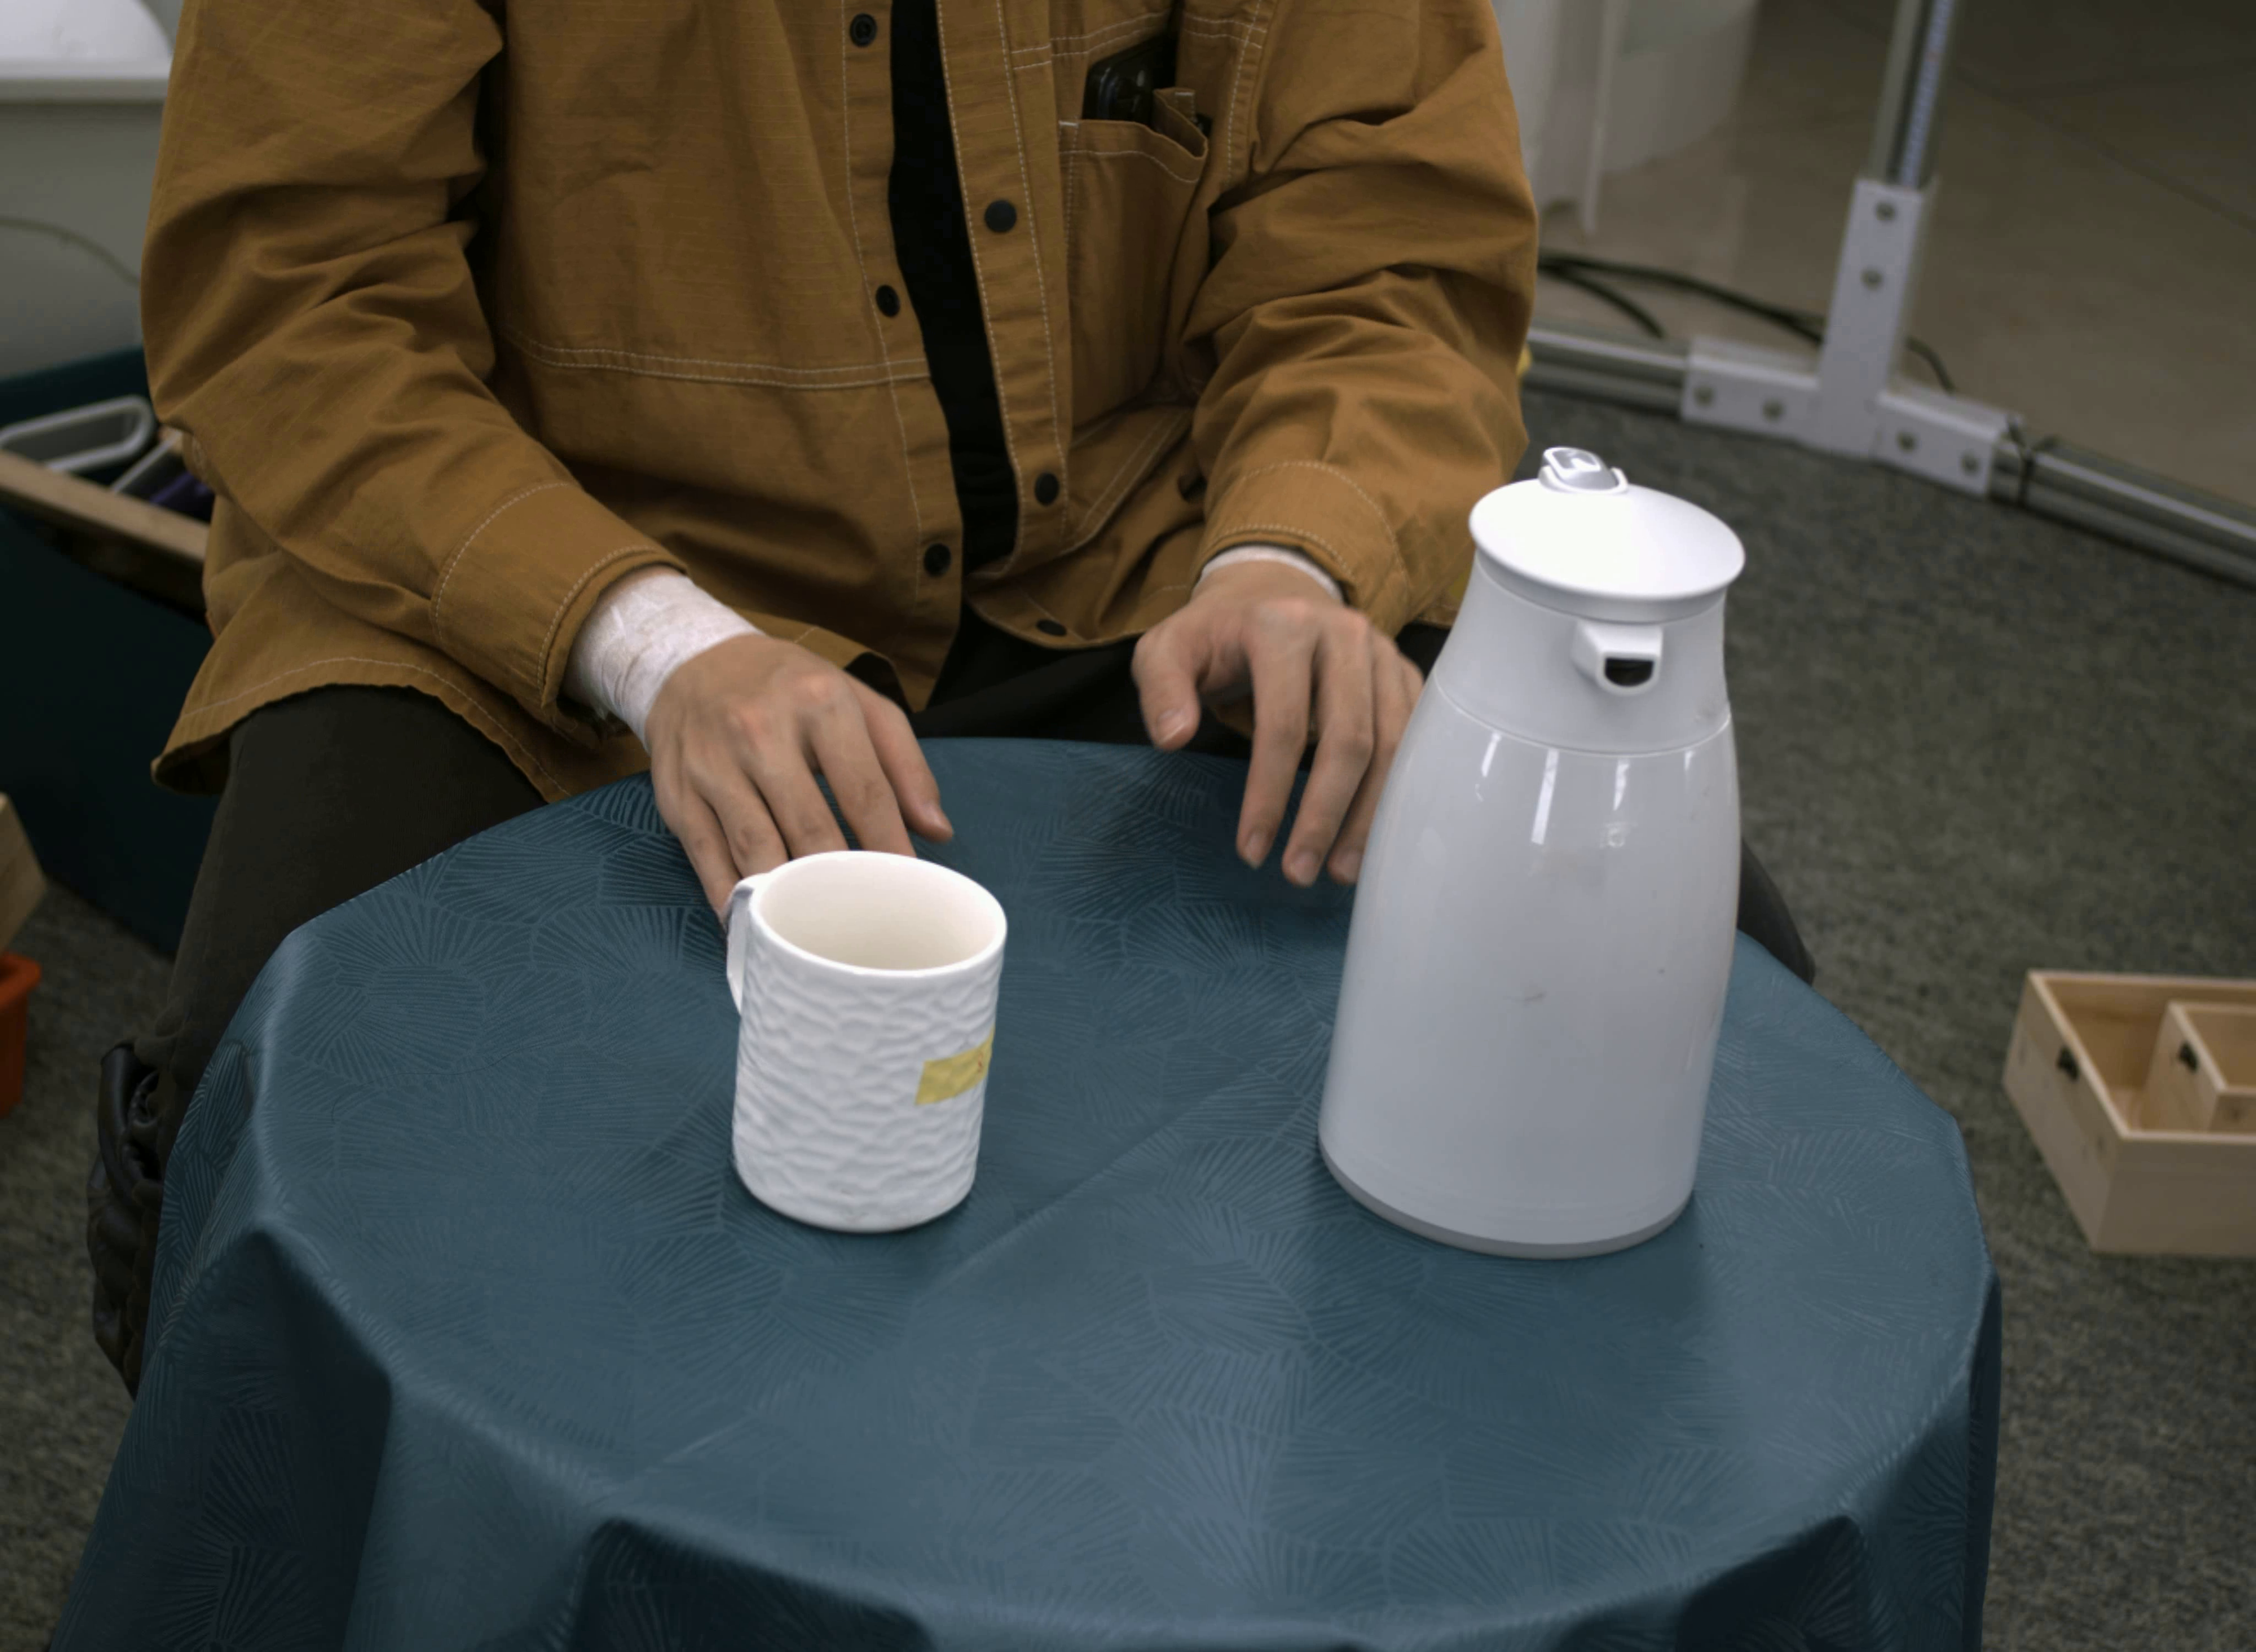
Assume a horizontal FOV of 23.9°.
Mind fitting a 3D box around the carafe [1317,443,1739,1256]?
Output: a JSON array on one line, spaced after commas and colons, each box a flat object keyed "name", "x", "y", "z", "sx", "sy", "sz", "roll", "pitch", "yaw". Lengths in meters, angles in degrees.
[{"name": "carafe", "x": 0.140, "y": -0.003, "z": 1.811, "sx": 0.132, "sy": 0.248, "sz": 0.169, "roll": 2, "pitch": 26, "yaw": -8}]

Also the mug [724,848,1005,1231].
[{"name": "mug", "x": -0.098, "y": 0.065, "z": 1.785, "sx": 0.084, "sy": 0.101, "sz": 0.119, "roll": -14, "pitch": 33, "yaw": -36}]
